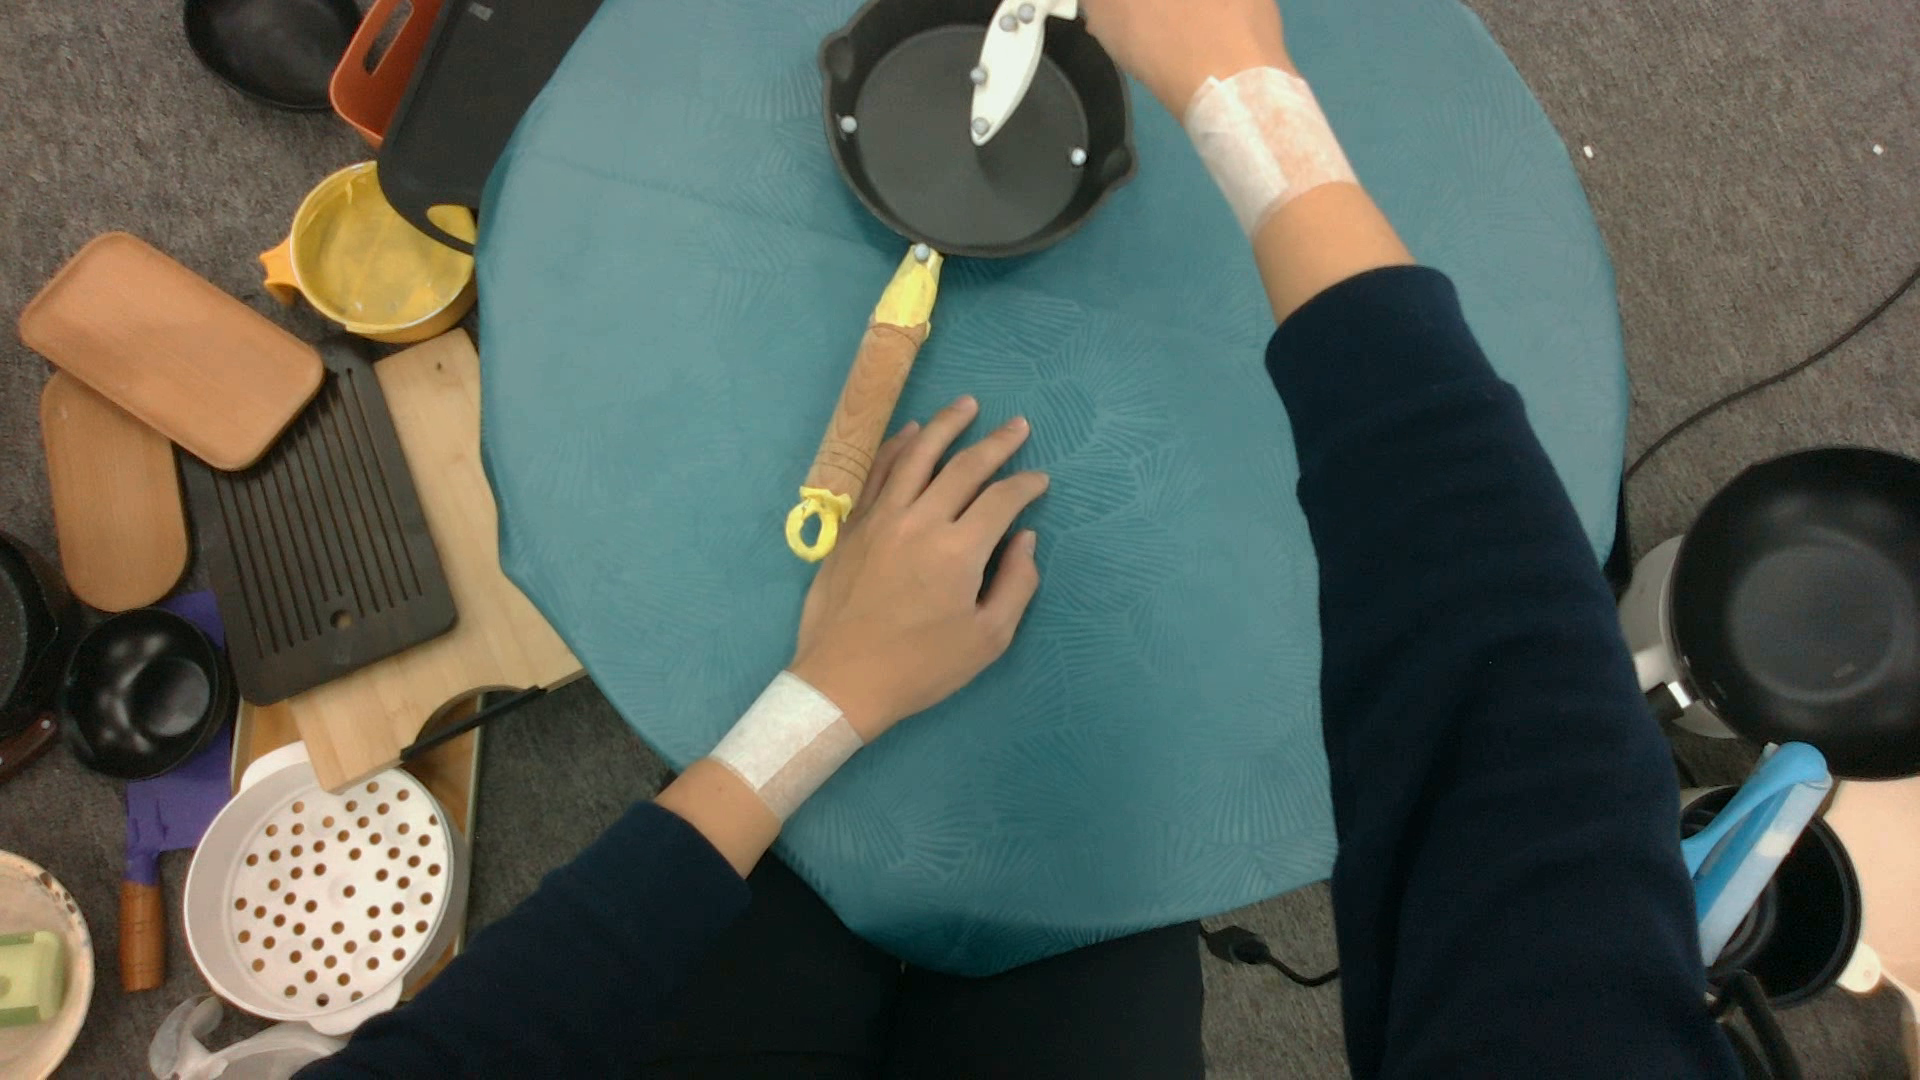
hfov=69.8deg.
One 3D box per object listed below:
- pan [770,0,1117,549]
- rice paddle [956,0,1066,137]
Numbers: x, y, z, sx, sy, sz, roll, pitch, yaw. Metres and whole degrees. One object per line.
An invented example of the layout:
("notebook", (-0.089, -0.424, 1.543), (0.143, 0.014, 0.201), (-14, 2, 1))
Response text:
("pan", (-0.030, -0.144, 0.680), (0.169, 0.049, 0.325), (21, 76, -3))
("rice paddle", (0.031, -0.246, 0.626), (0.029, 0.204, 0.069), (9, 78, -19))
